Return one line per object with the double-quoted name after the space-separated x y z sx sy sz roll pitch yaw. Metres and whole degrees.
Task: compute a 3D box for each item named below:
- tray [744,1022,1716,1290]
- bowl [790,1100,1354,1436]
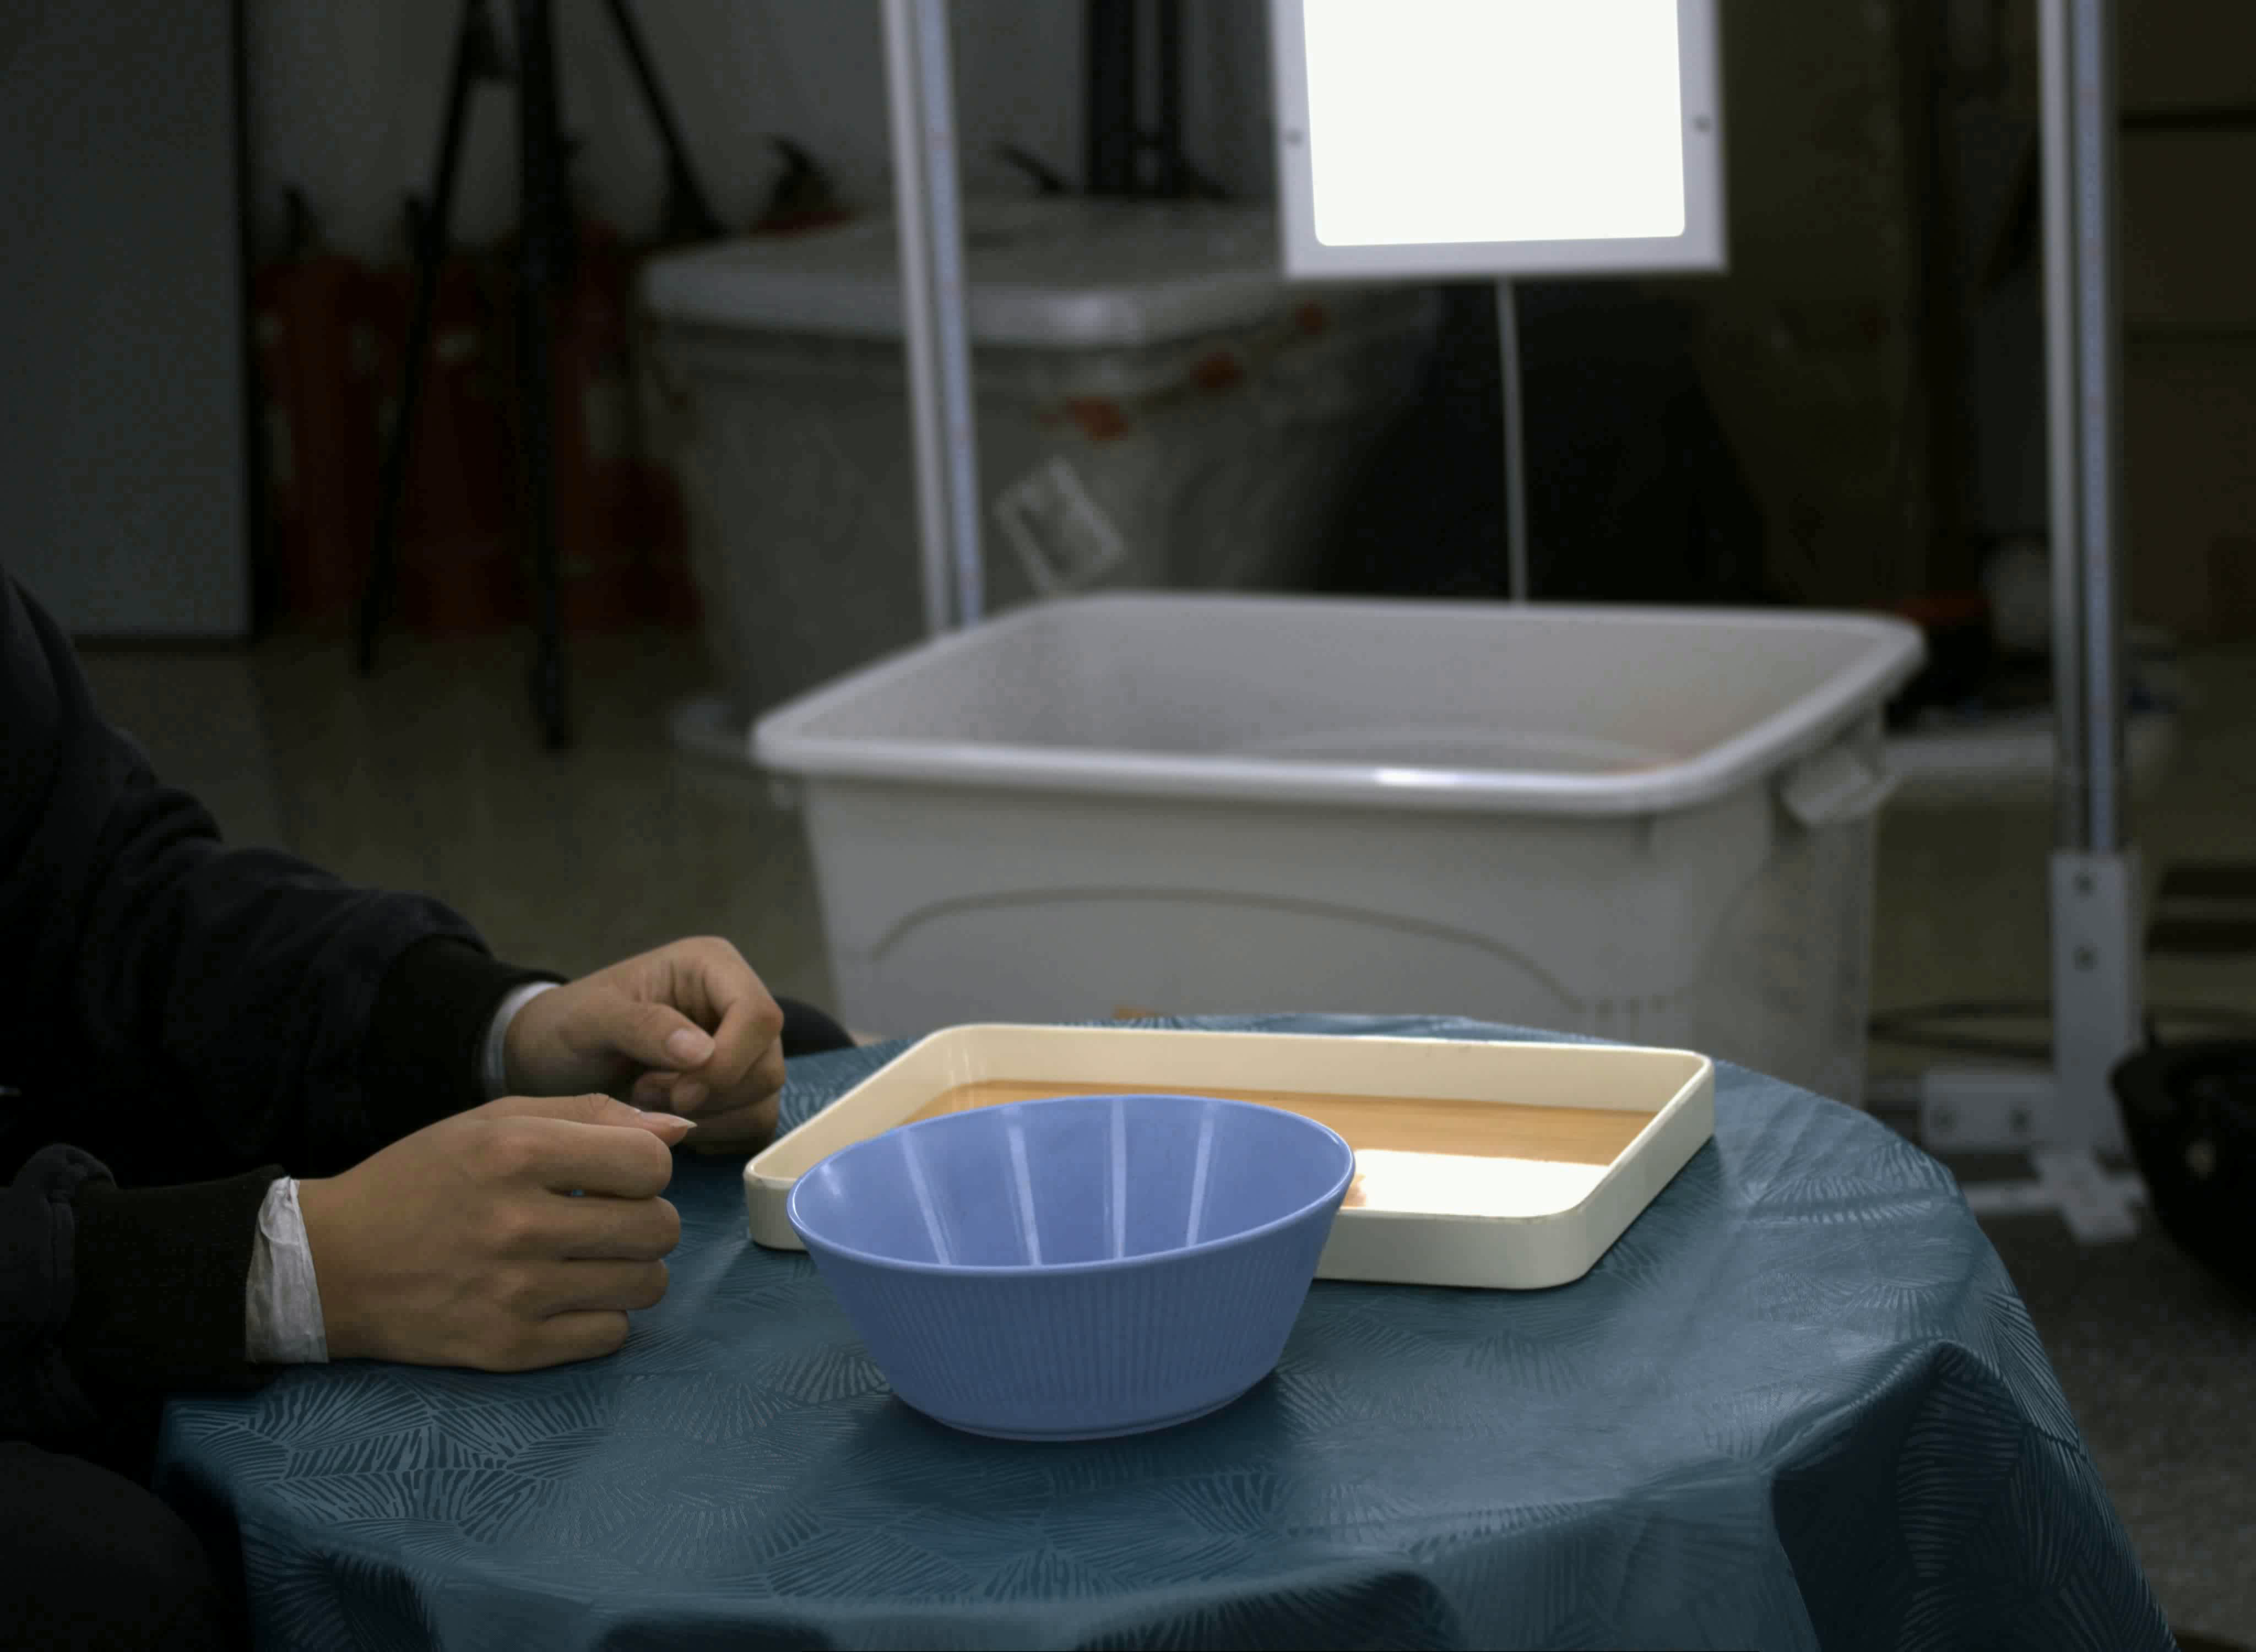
0.037 0.111 1.891 0.305 0.027 0.188 1 15 24 "tray"
-0.015 0.139 1.702 0.175 0.070 0.176 -5 12 0 "bowl"
